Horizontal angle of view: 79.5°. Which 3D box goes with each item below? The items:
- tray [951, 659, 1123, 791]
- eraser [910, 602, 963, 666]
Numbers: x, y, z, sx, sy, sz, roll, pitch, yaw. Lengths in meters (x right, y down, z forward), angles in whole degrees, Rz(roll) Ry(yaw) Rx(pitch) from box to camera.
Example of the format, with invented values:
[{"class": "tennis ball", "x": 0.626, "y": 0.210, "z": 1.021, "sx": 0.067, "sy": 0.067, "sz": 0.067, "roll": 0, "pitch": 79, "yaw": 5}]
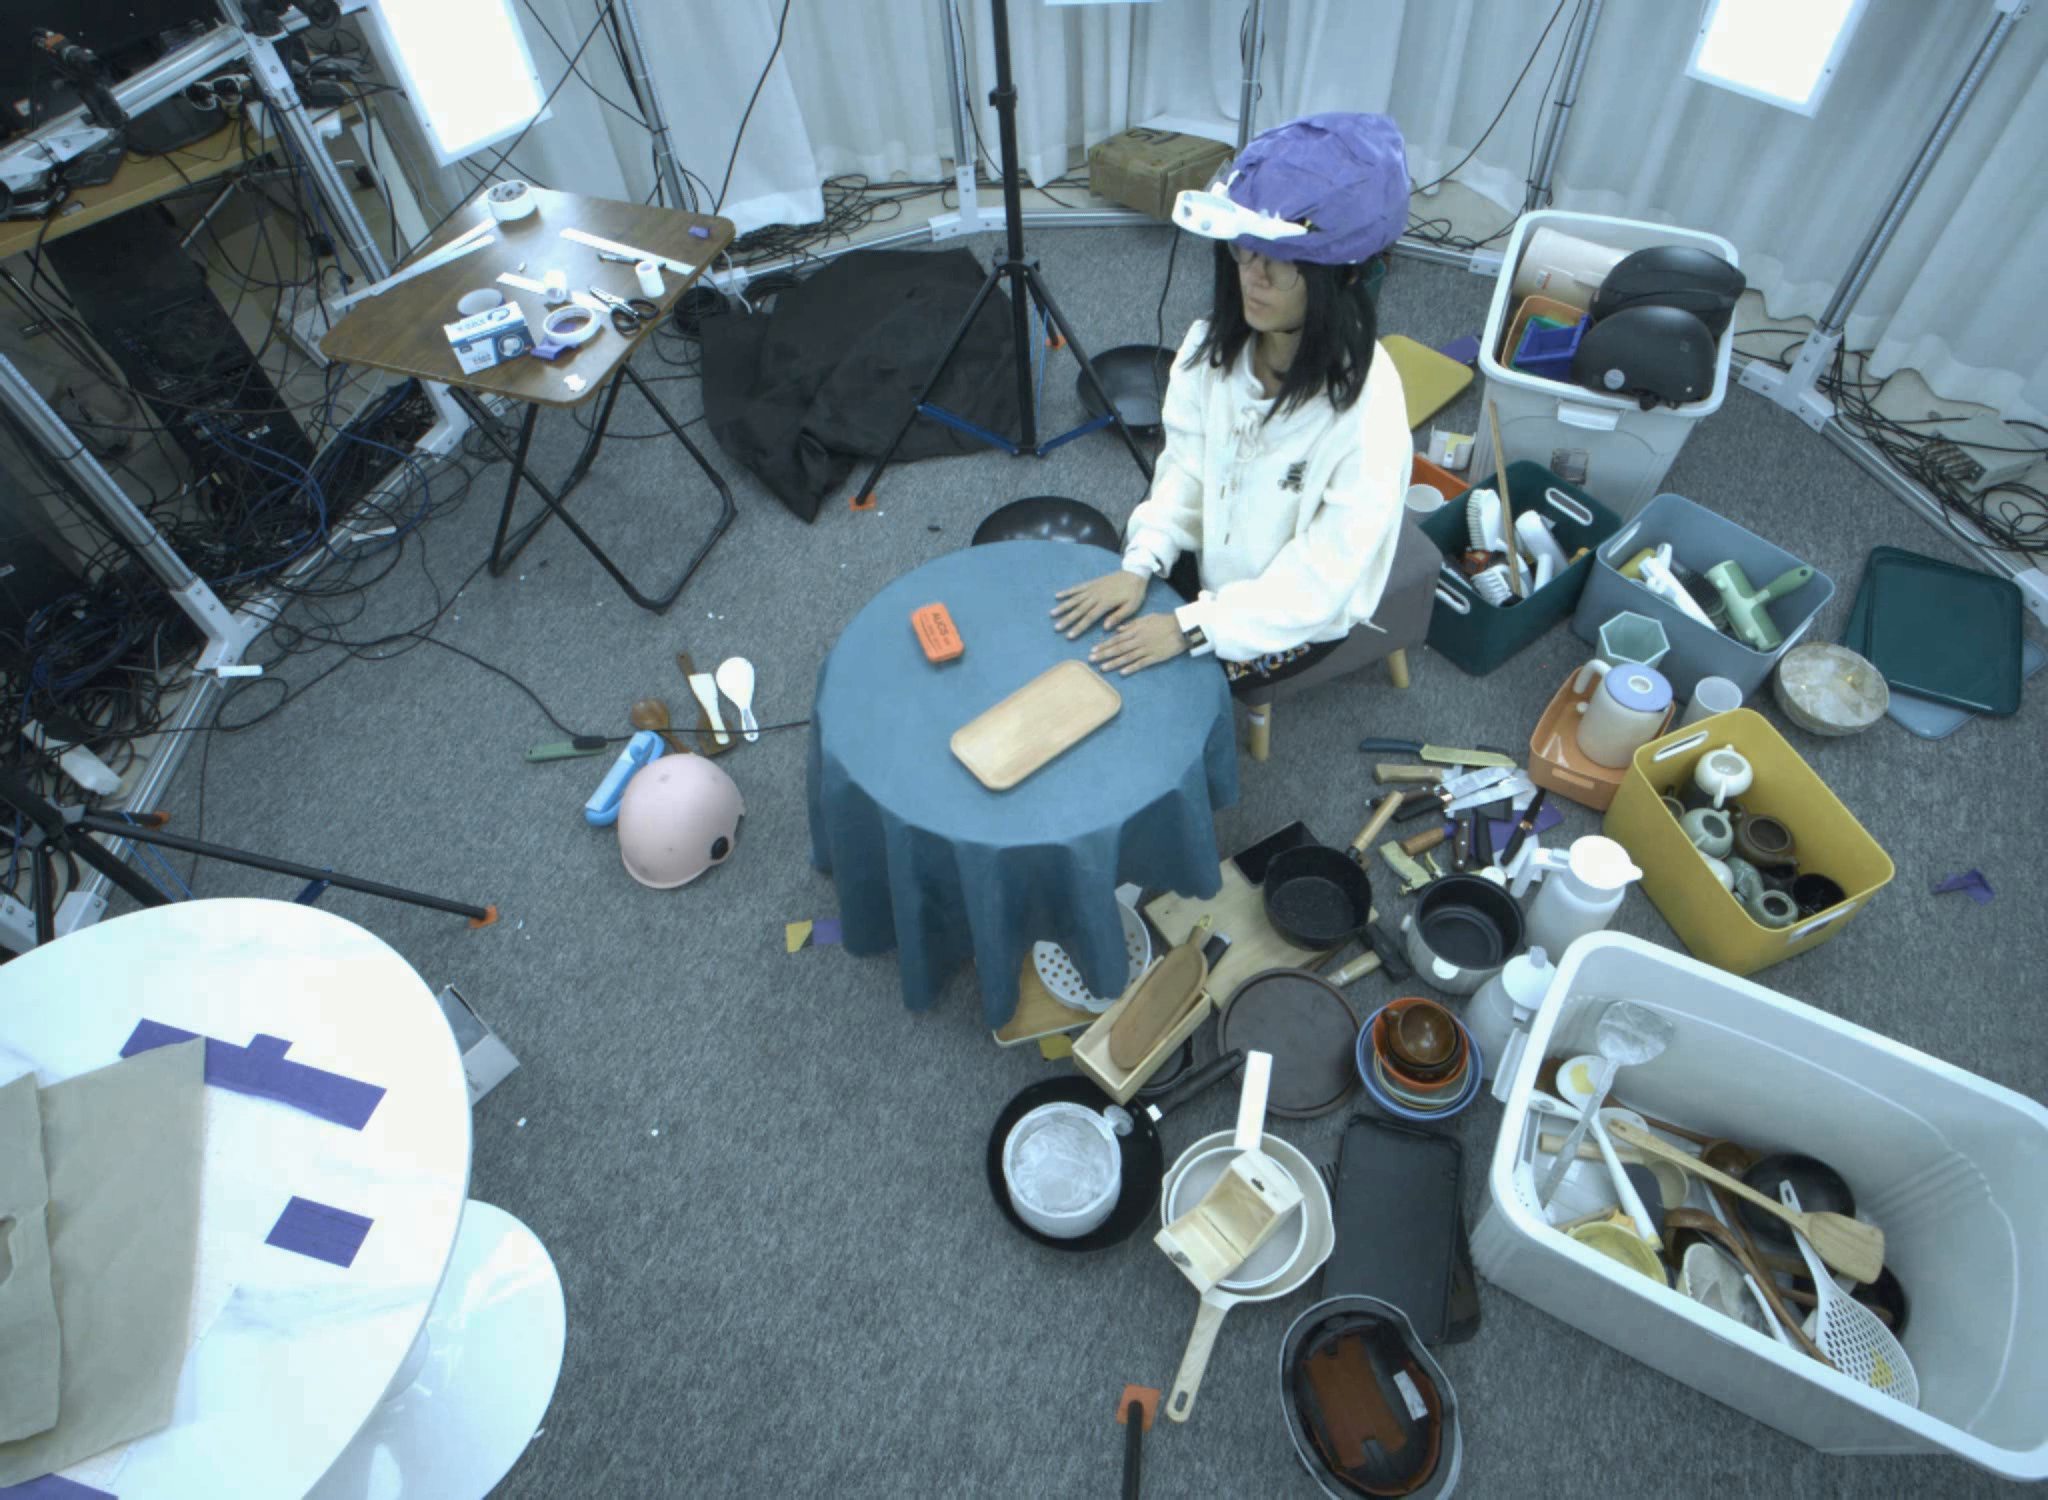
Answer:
[{"class": "tray", "x": 0.020, "y": -0.038, "z": 1.803, "sx": 0.253, "sy": 0.023, "sz": 0.128, "roll": -33, "pitch": 63, "yaw": -20}, {"class": "eraser", "x": -0.137, "y": -0.181, "z": 1.906, "sx": 0.059, "sy": 0.023, "sz": 0.106, "roll": -19, "pitch": 57, "yaw": -10}]
